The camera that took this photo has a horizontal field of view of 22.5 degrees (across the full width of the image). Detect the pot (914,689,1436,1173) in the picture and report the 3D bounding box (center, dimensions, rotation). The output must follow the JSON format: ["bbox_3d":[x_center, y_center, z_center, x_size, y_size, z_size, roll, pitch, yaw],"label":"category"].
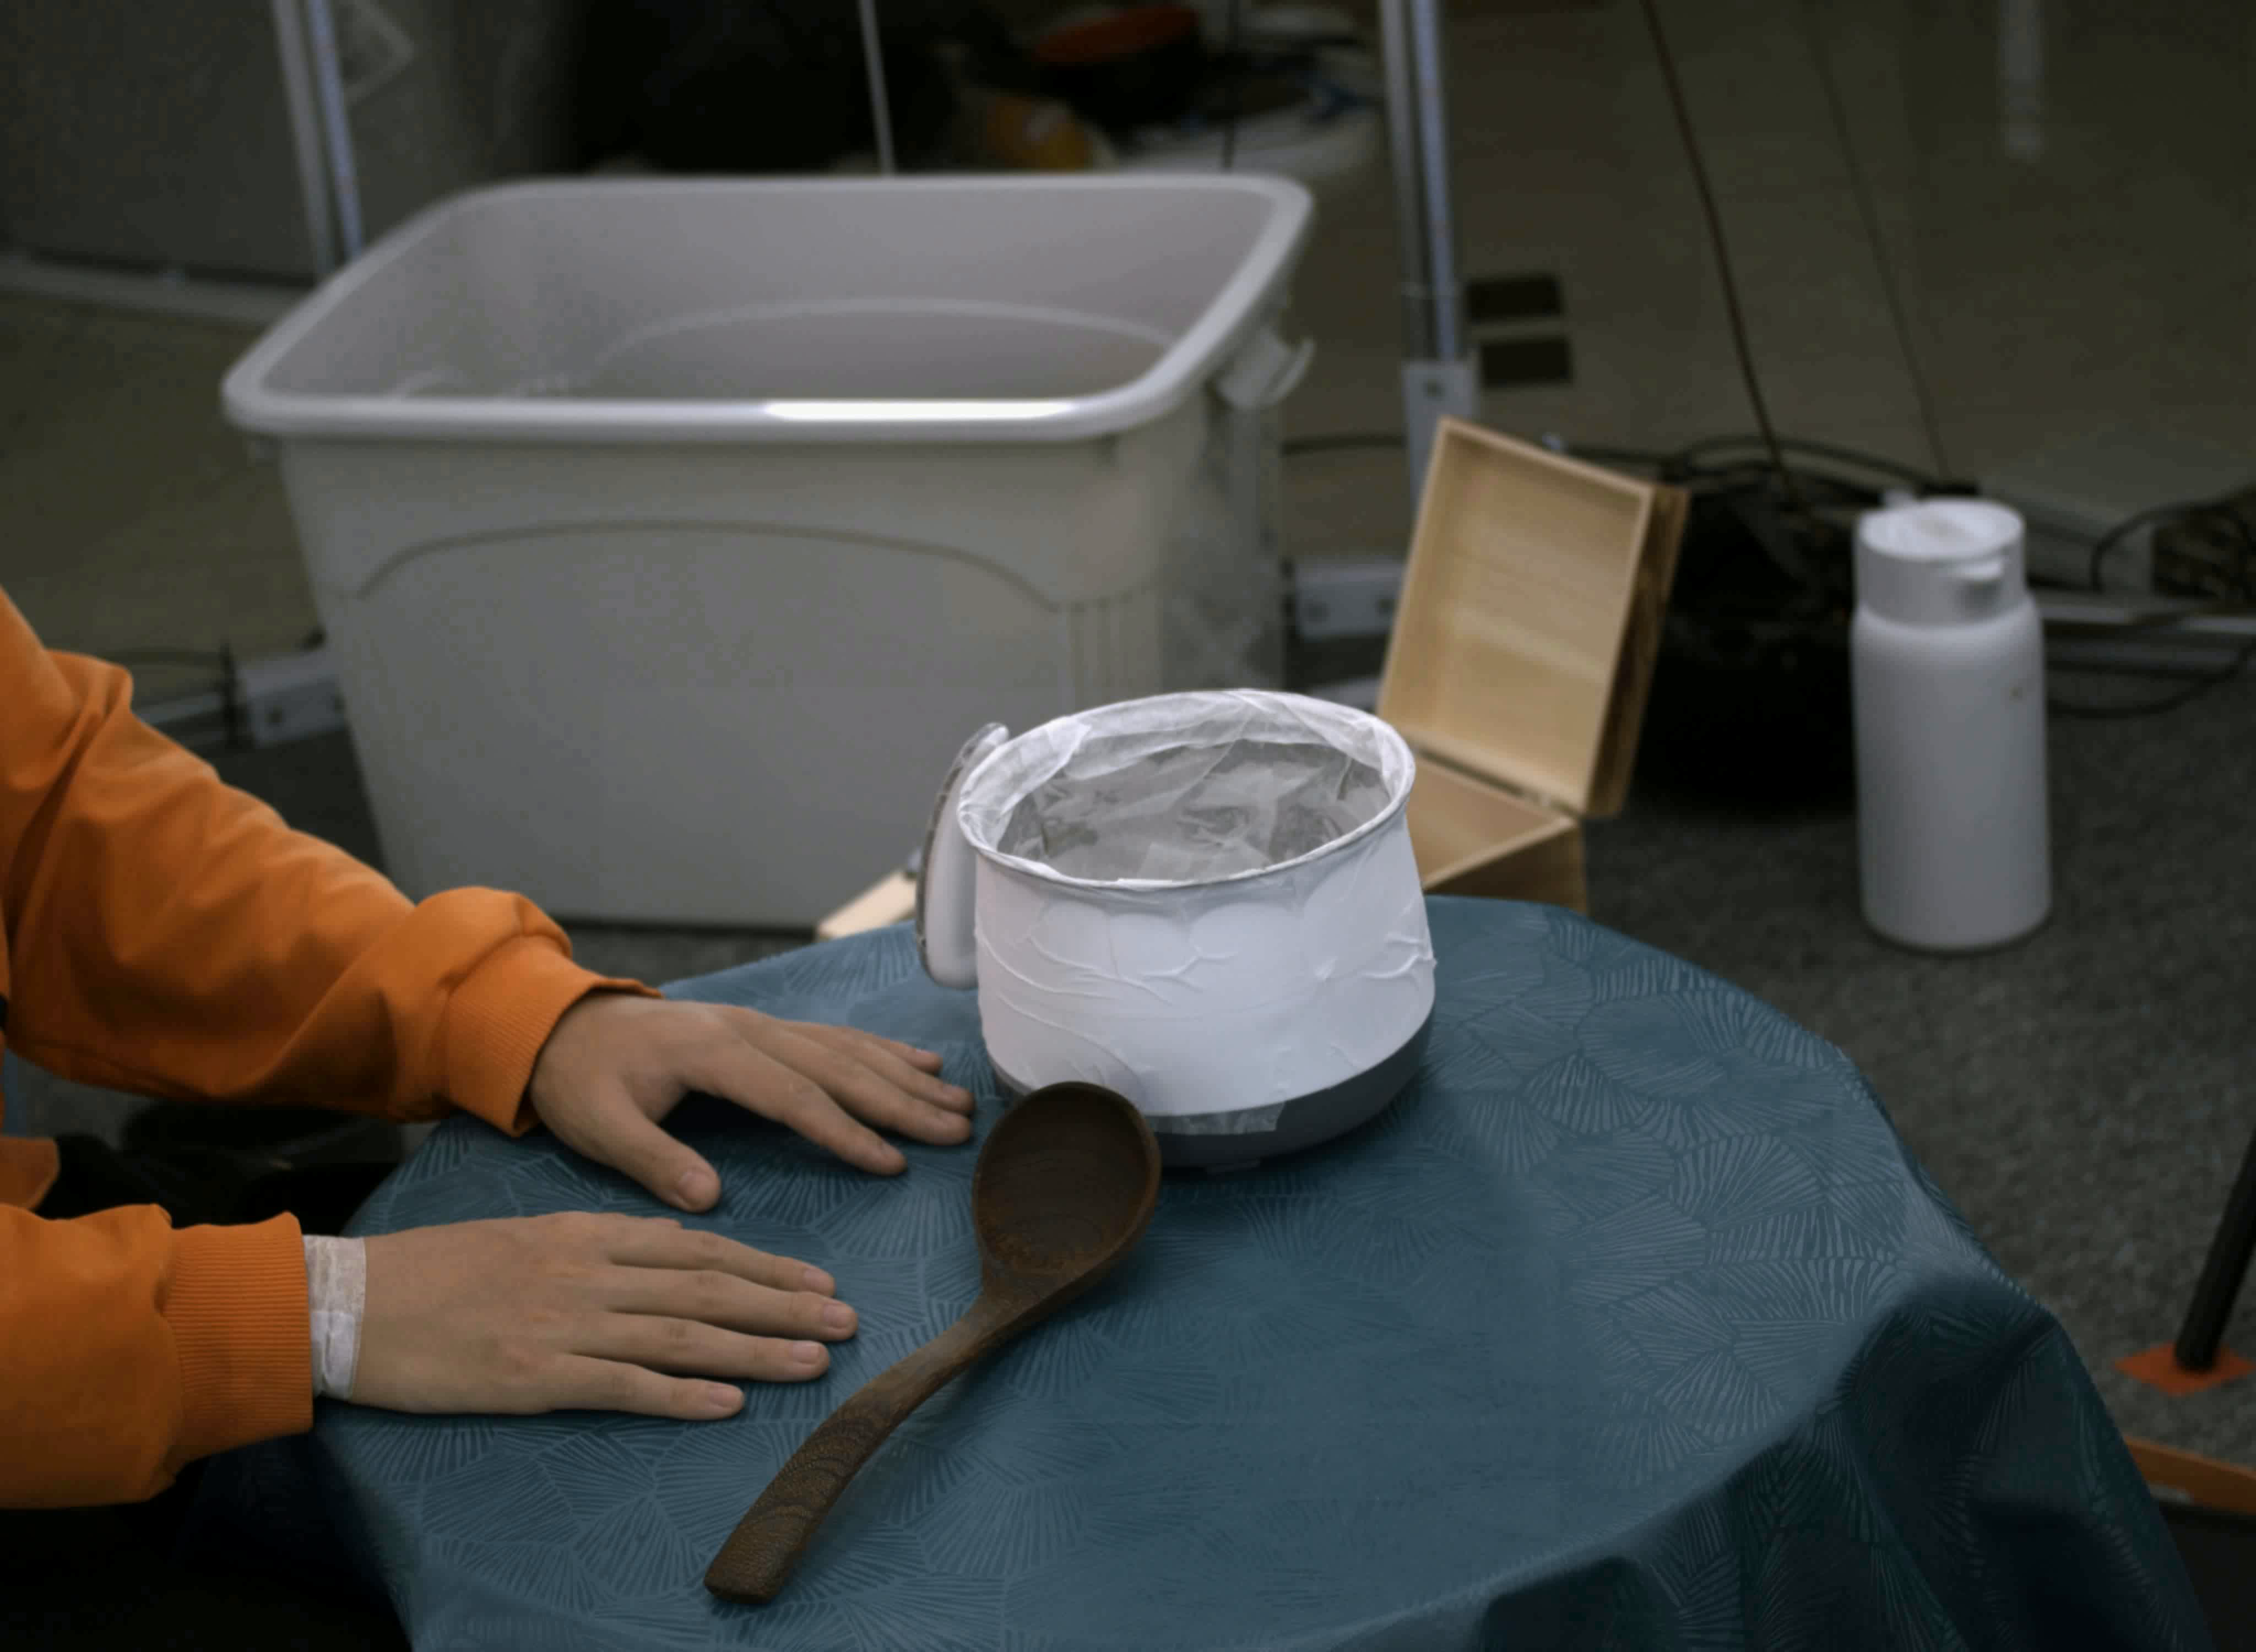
[{"bbox_3d":[0.007,0.036,2.201,0.232,0.139,0.177,15,32,37],"label":"pot"}]

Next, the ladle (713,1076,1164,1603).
[{"bbox_3d":[-0.071,0.175,2.004,0.076,0.072,0.271,5,27,29],"label":"ladle"}]
